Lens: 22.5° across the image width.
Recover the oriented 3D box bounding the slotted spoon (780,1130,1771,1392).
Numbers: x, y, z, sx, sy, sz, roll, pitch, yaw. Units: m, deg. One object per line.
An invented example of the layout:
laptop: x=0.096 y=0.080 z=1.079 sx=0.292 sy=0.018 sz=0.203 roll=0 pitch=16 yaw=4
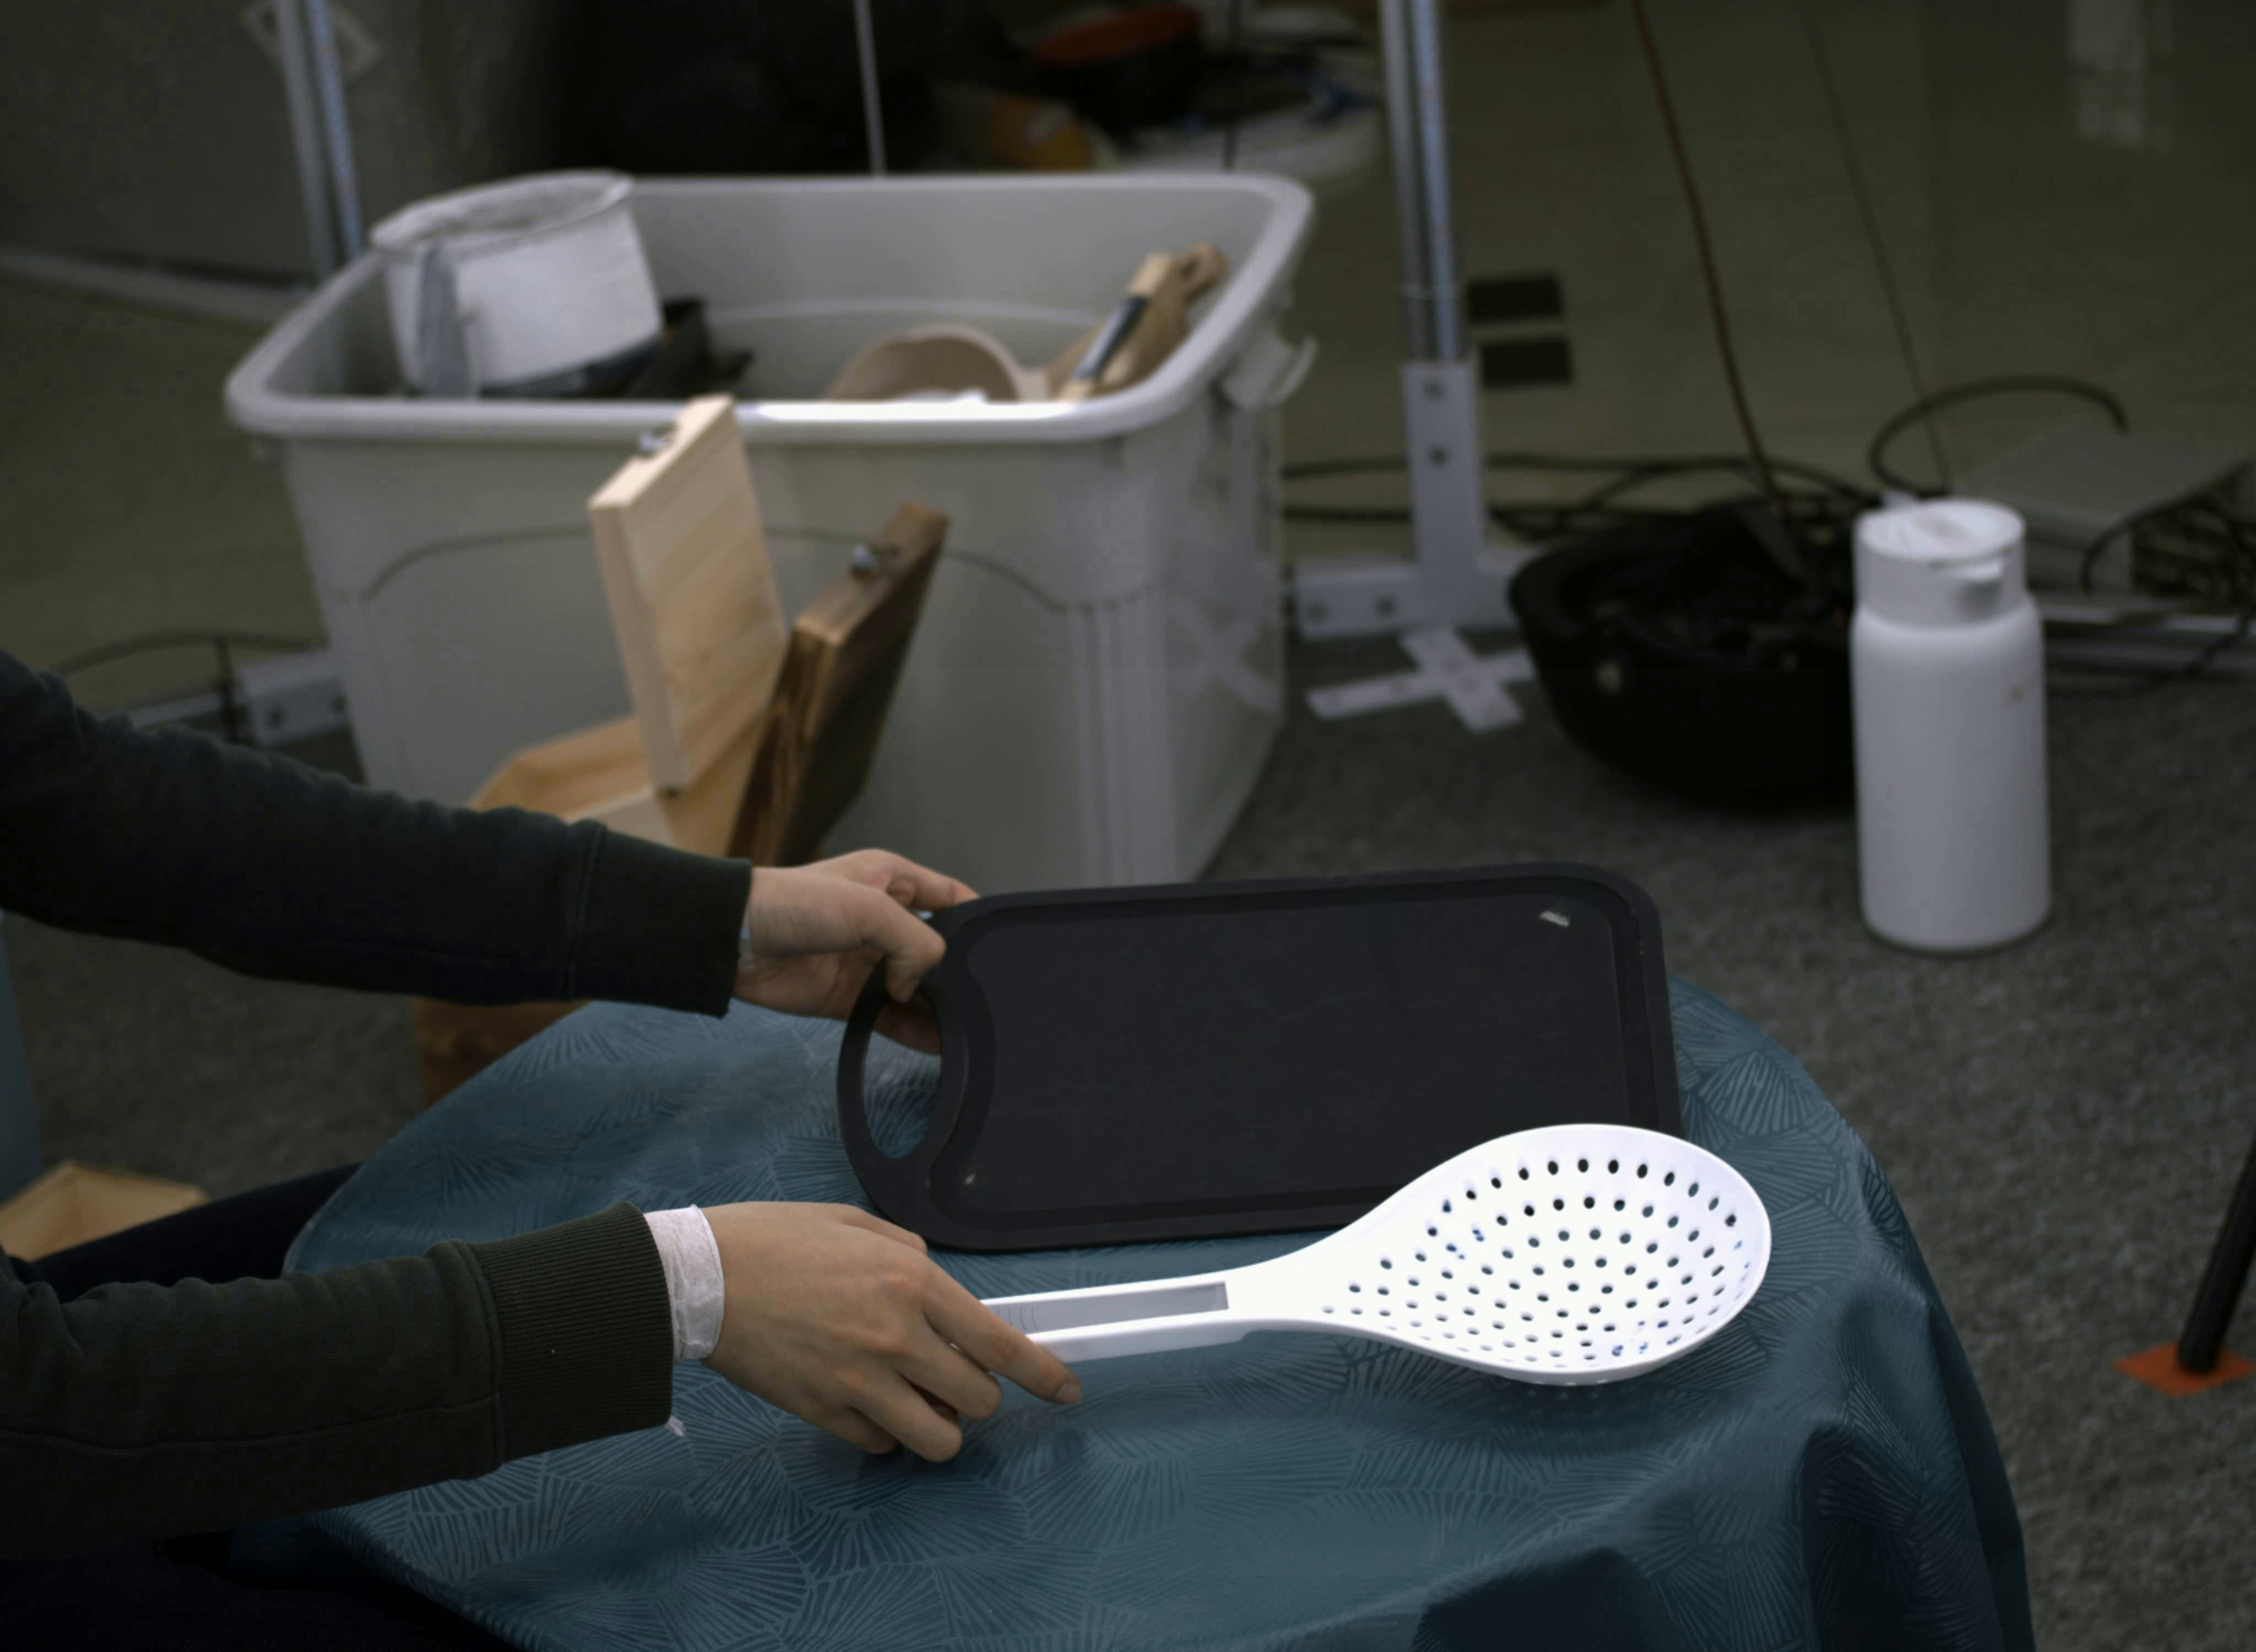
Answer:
slotted spoon: x=0.051 y=0.168 z=2.003 sx=0.349 sy=0.046 sz=0.133 roll=-3 pitch=34 yaw=-2

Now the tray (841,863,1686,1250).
tray: x=0.050 y=0.086 z=2.190 sx=0.325 sy=0.010 sz=0.207 roll=-4 pitch=38 yaw=4
